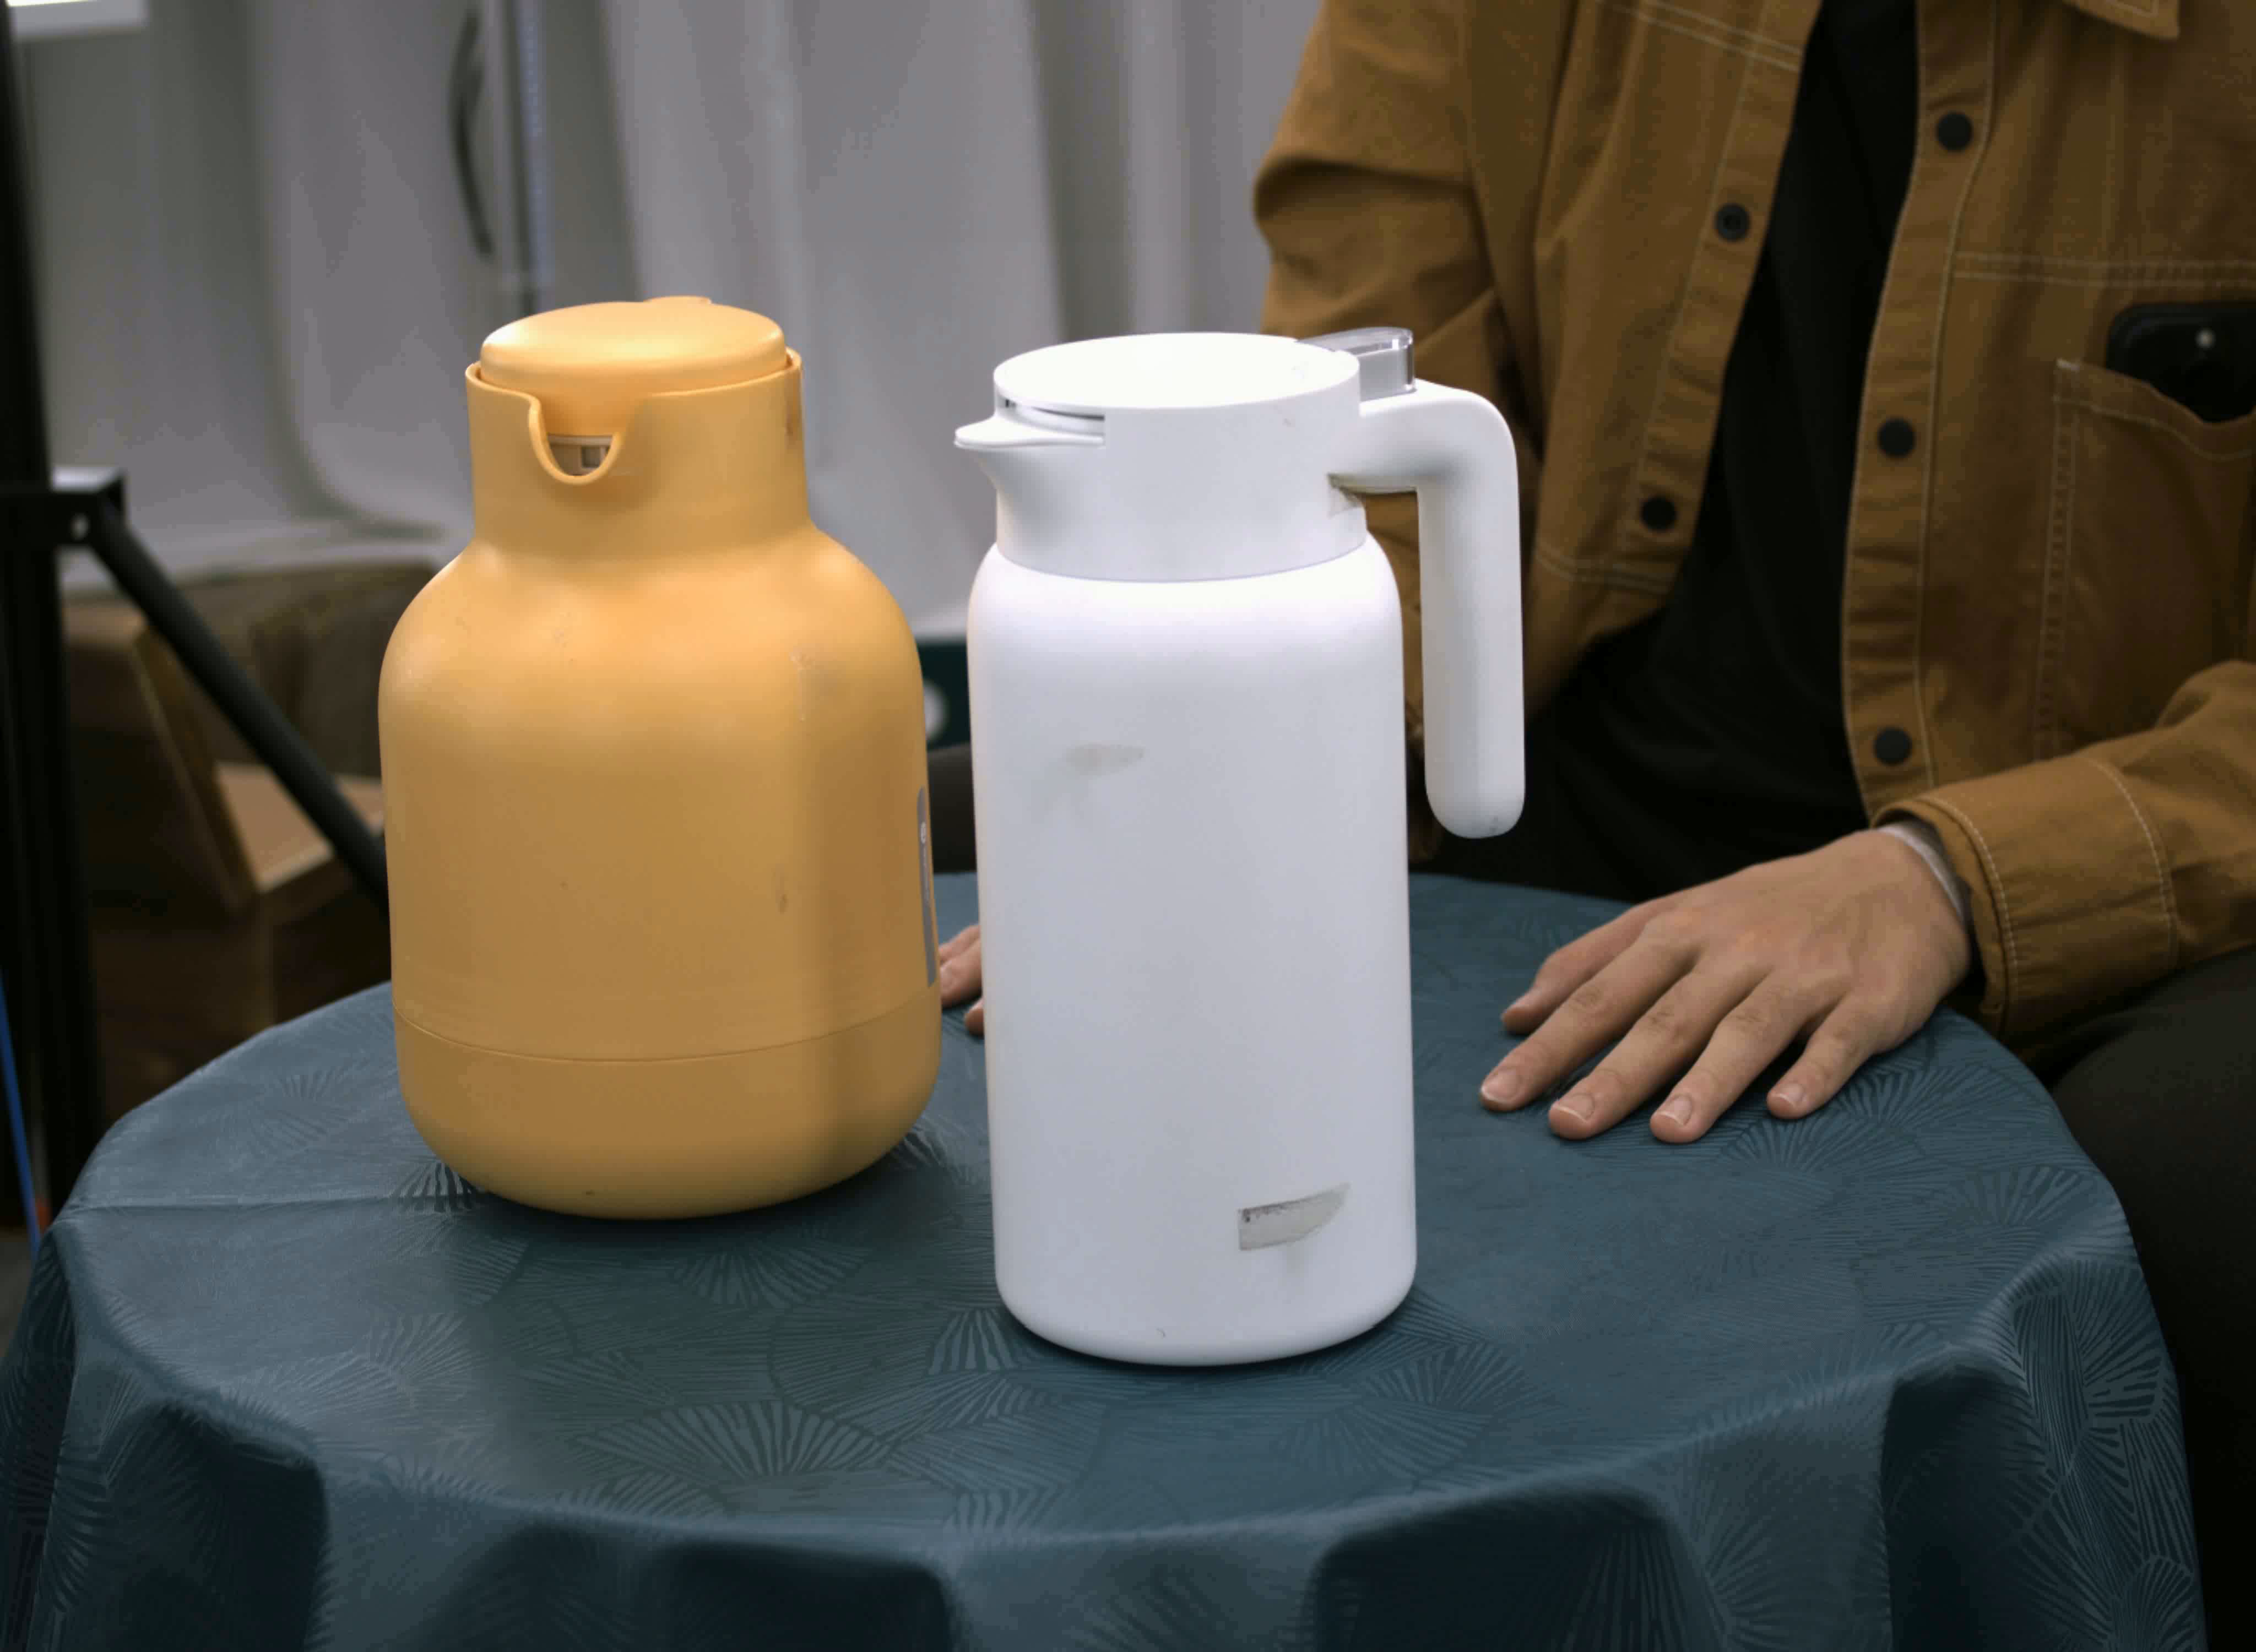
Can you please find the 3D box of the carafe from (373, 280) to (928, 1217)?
[{"bbox_3d":[-0.136,-0.031,1.587,0.164,0.260,0.201,4,17,11],"label":"carafe"}]

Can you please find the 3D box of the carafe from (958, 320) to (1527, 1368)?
[{"bbox_3d":[0.032,0.000,1.440,0.169,0.269,0.126,-11,16,-31],"label":"carafe"}]
